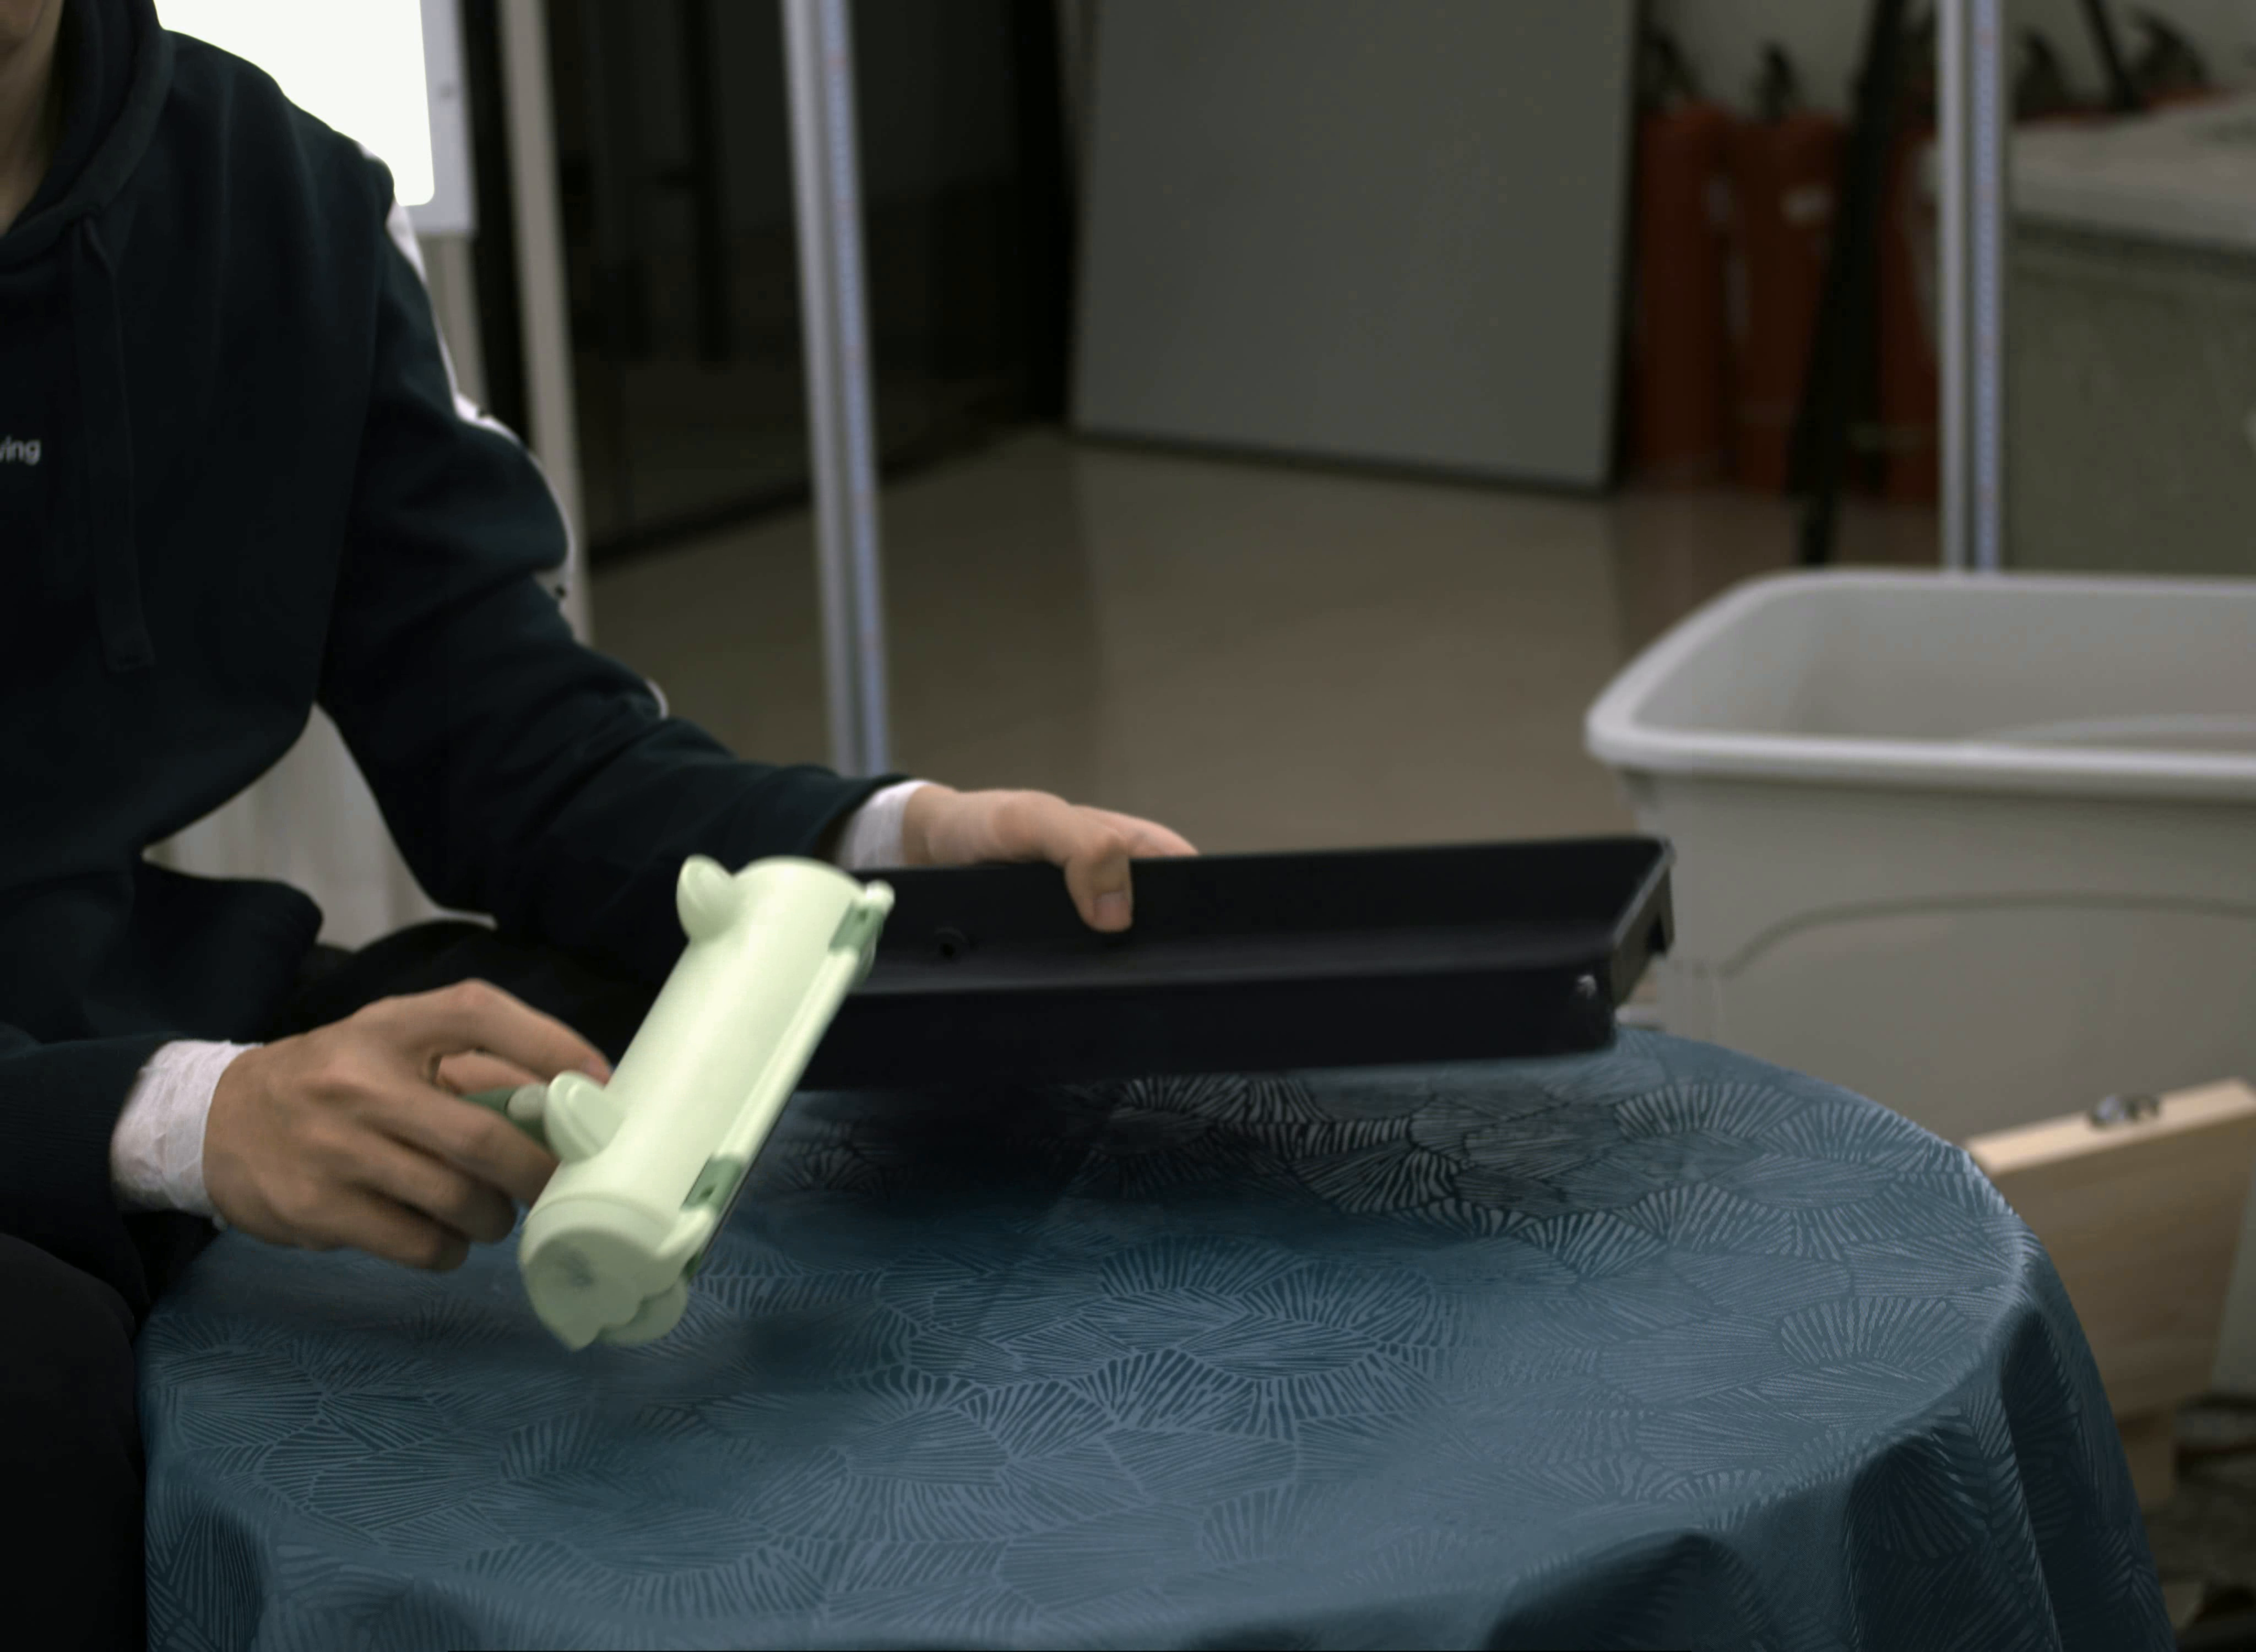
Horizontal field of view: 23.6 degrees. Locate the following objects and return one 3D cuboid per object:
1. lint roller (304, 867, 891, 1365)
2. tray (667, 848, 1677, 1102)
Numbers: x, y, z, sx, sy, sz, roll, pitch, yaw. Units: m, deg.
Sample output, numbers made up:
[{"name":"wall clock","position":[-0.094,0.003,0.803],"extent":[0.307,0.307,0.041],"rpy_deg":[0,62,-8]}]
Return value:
[{"name":"lint roller","position":[-0.181,0.084,1.647],"extent":[0.183,0.082,0.198],"rpy_deg":[-5,30,23]},{"name":"tray","position":[0.019,0.049,1.800],"extent":[0.317,0.037,0.183],"rpy_deg":[-2,12,16]}]
